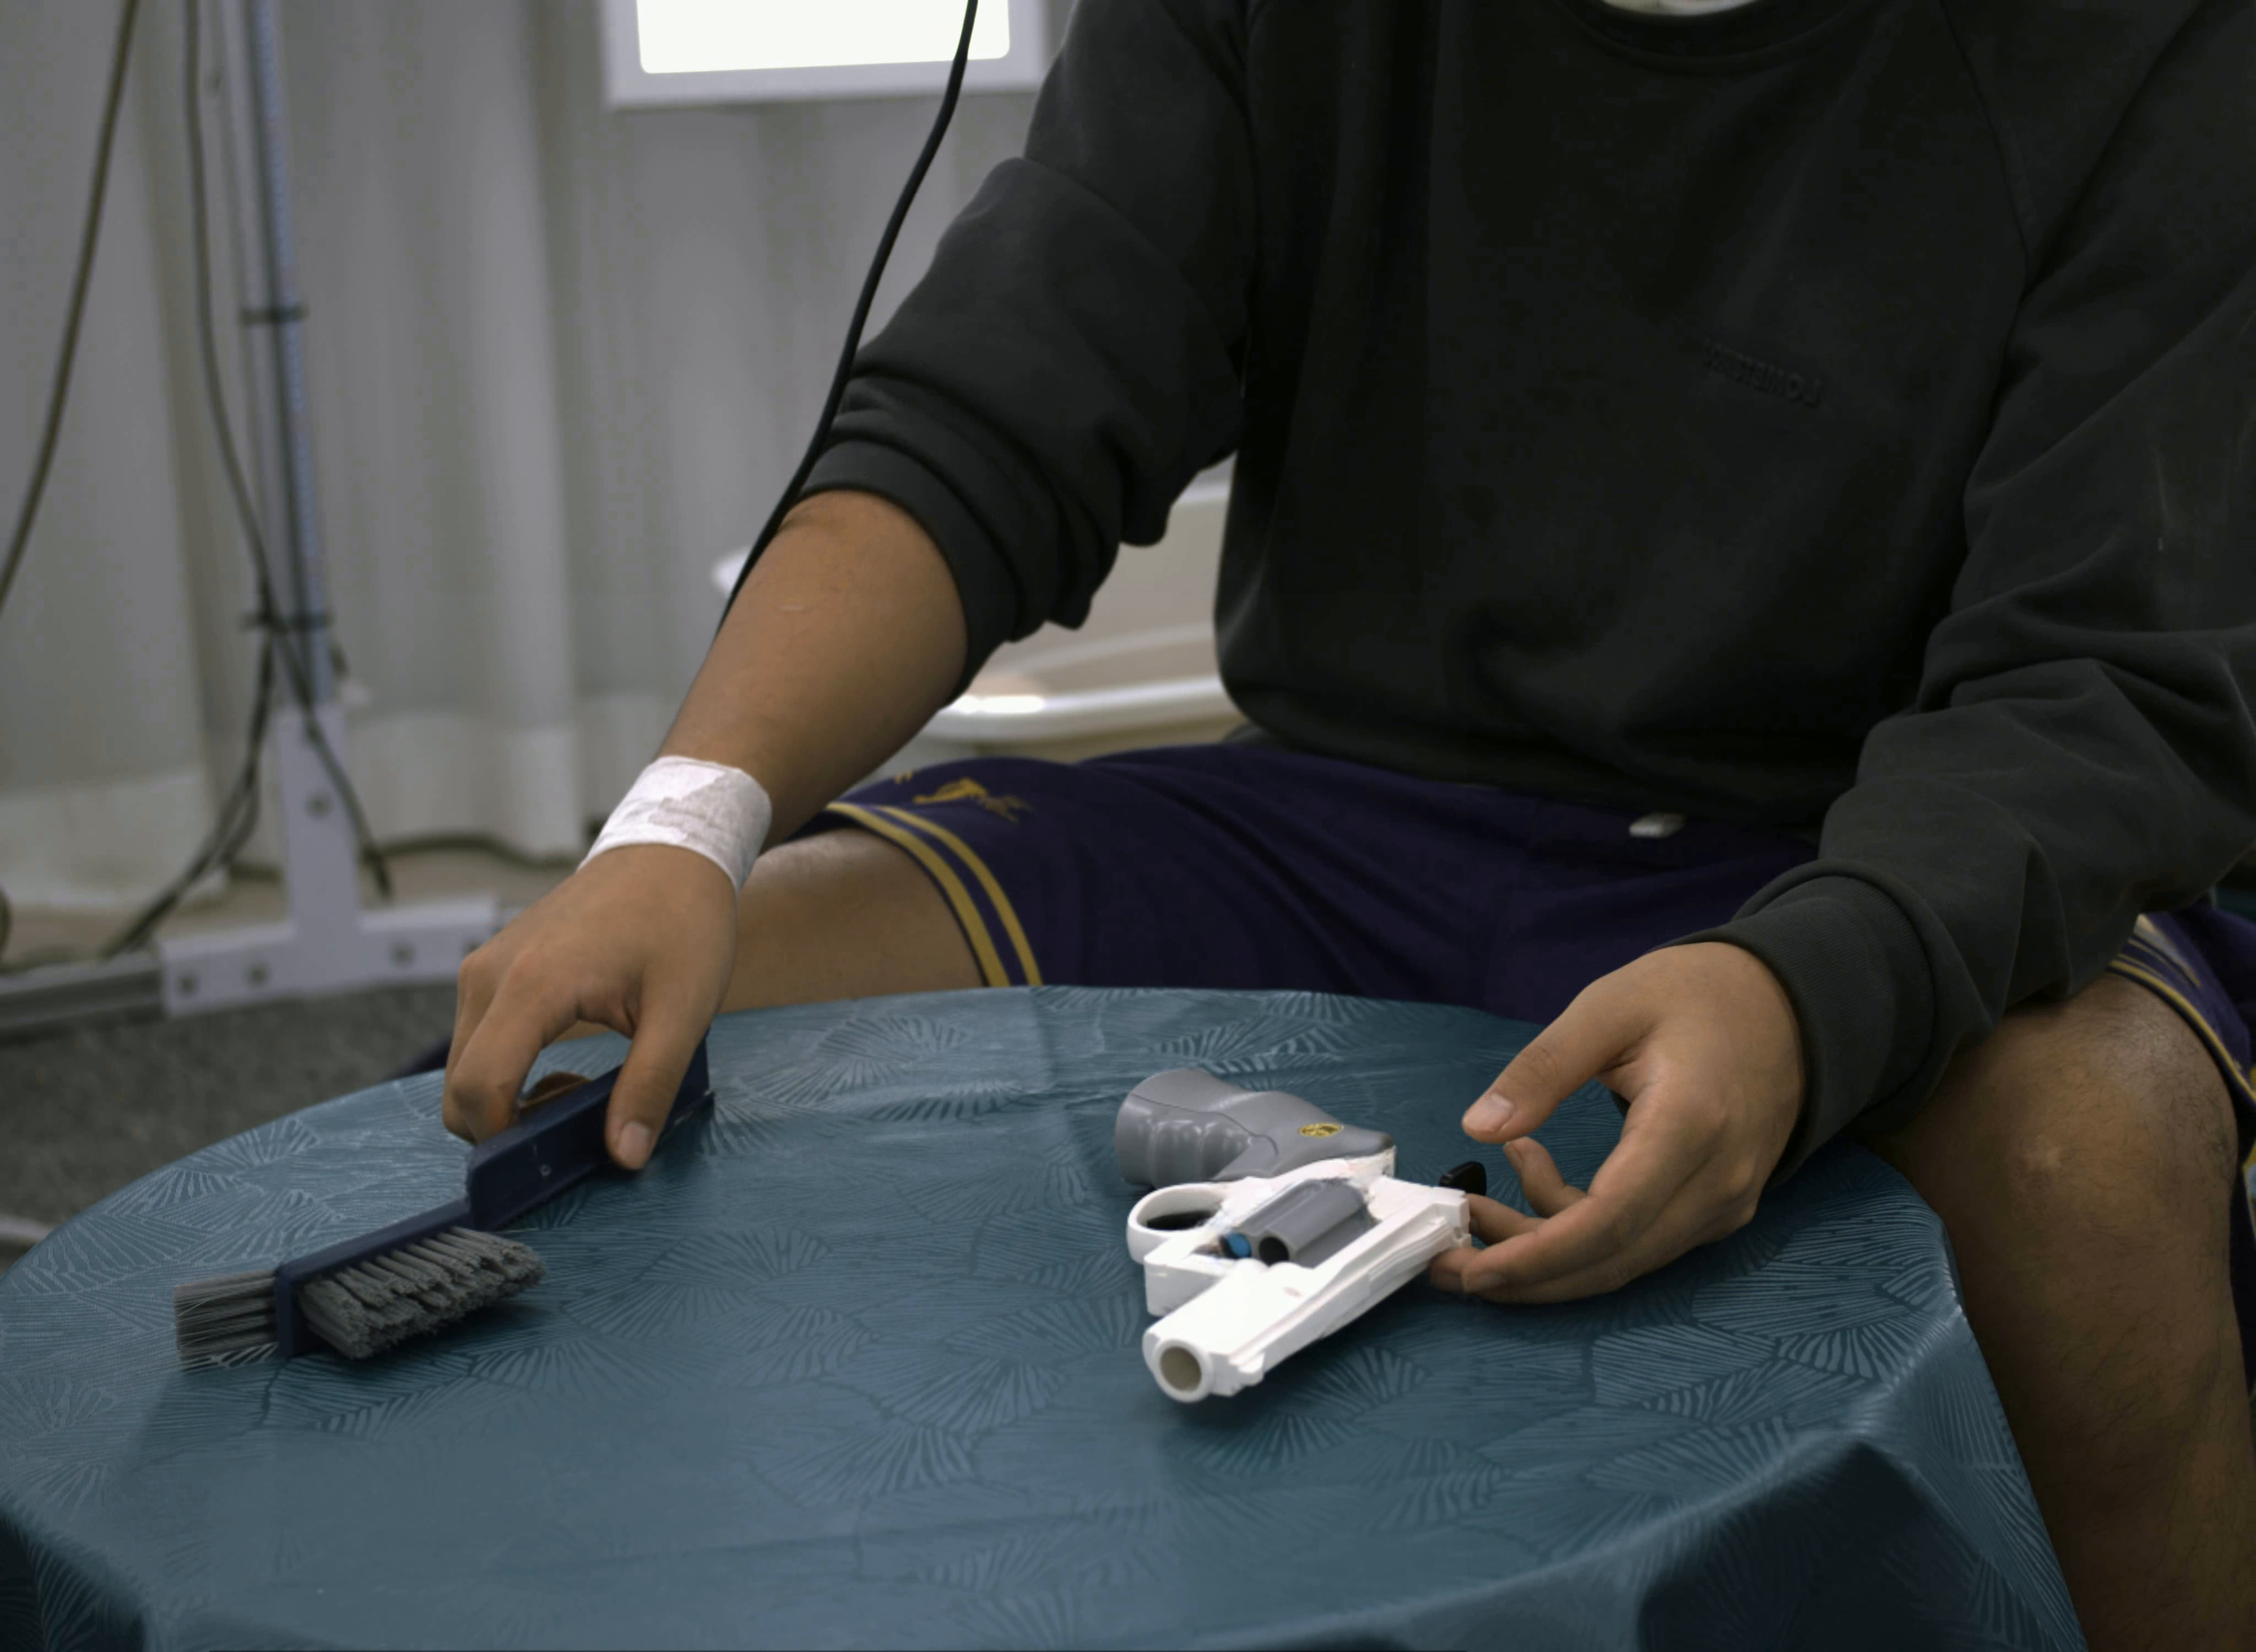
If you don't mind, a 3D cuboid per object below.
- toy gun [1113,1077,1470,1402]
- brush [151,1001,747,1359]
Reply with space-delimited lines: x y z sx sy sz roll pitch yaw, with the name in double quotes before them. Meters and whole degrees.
"toy gun" 0.027 0.120 1.617 0.142 0.038 0.209 4 16 30
"brush" -0.201 0.109 1.715 0.096 0.033 0.274 2 16 19
